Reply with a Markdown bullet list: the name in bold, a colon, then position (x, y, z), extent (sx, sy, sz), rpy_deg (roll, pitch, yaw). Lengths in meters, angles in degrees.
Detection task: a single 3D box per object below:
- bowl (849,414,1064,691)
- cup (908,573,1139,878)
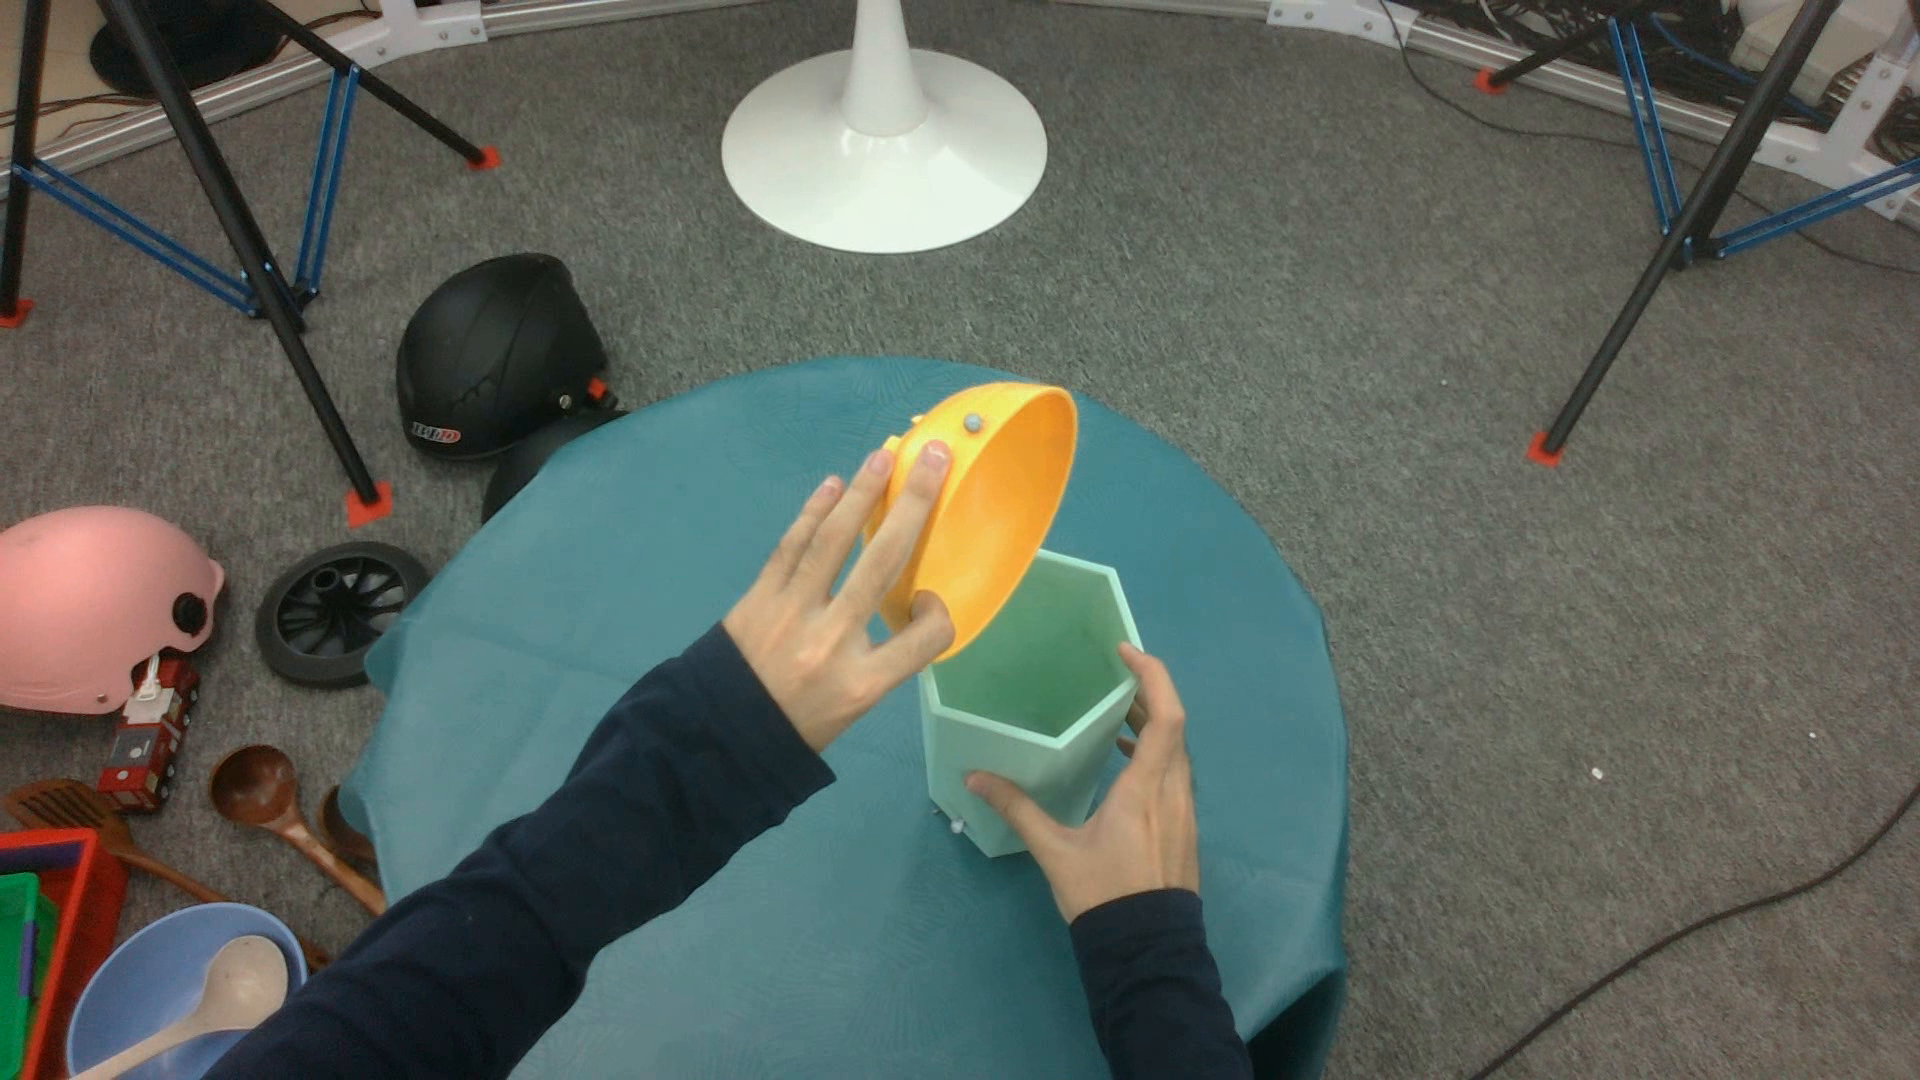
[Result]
- **bowl**: position (-0.011, -0.004, 0.673), extent (0.060, 0.144, 0.146), rpy_deg (28, 56, 23)
- **cup**: position (0.031, 0.110, 0.780), extent (0.131, 0.162, 0.116), rpy_deg (12, 54, 10)
